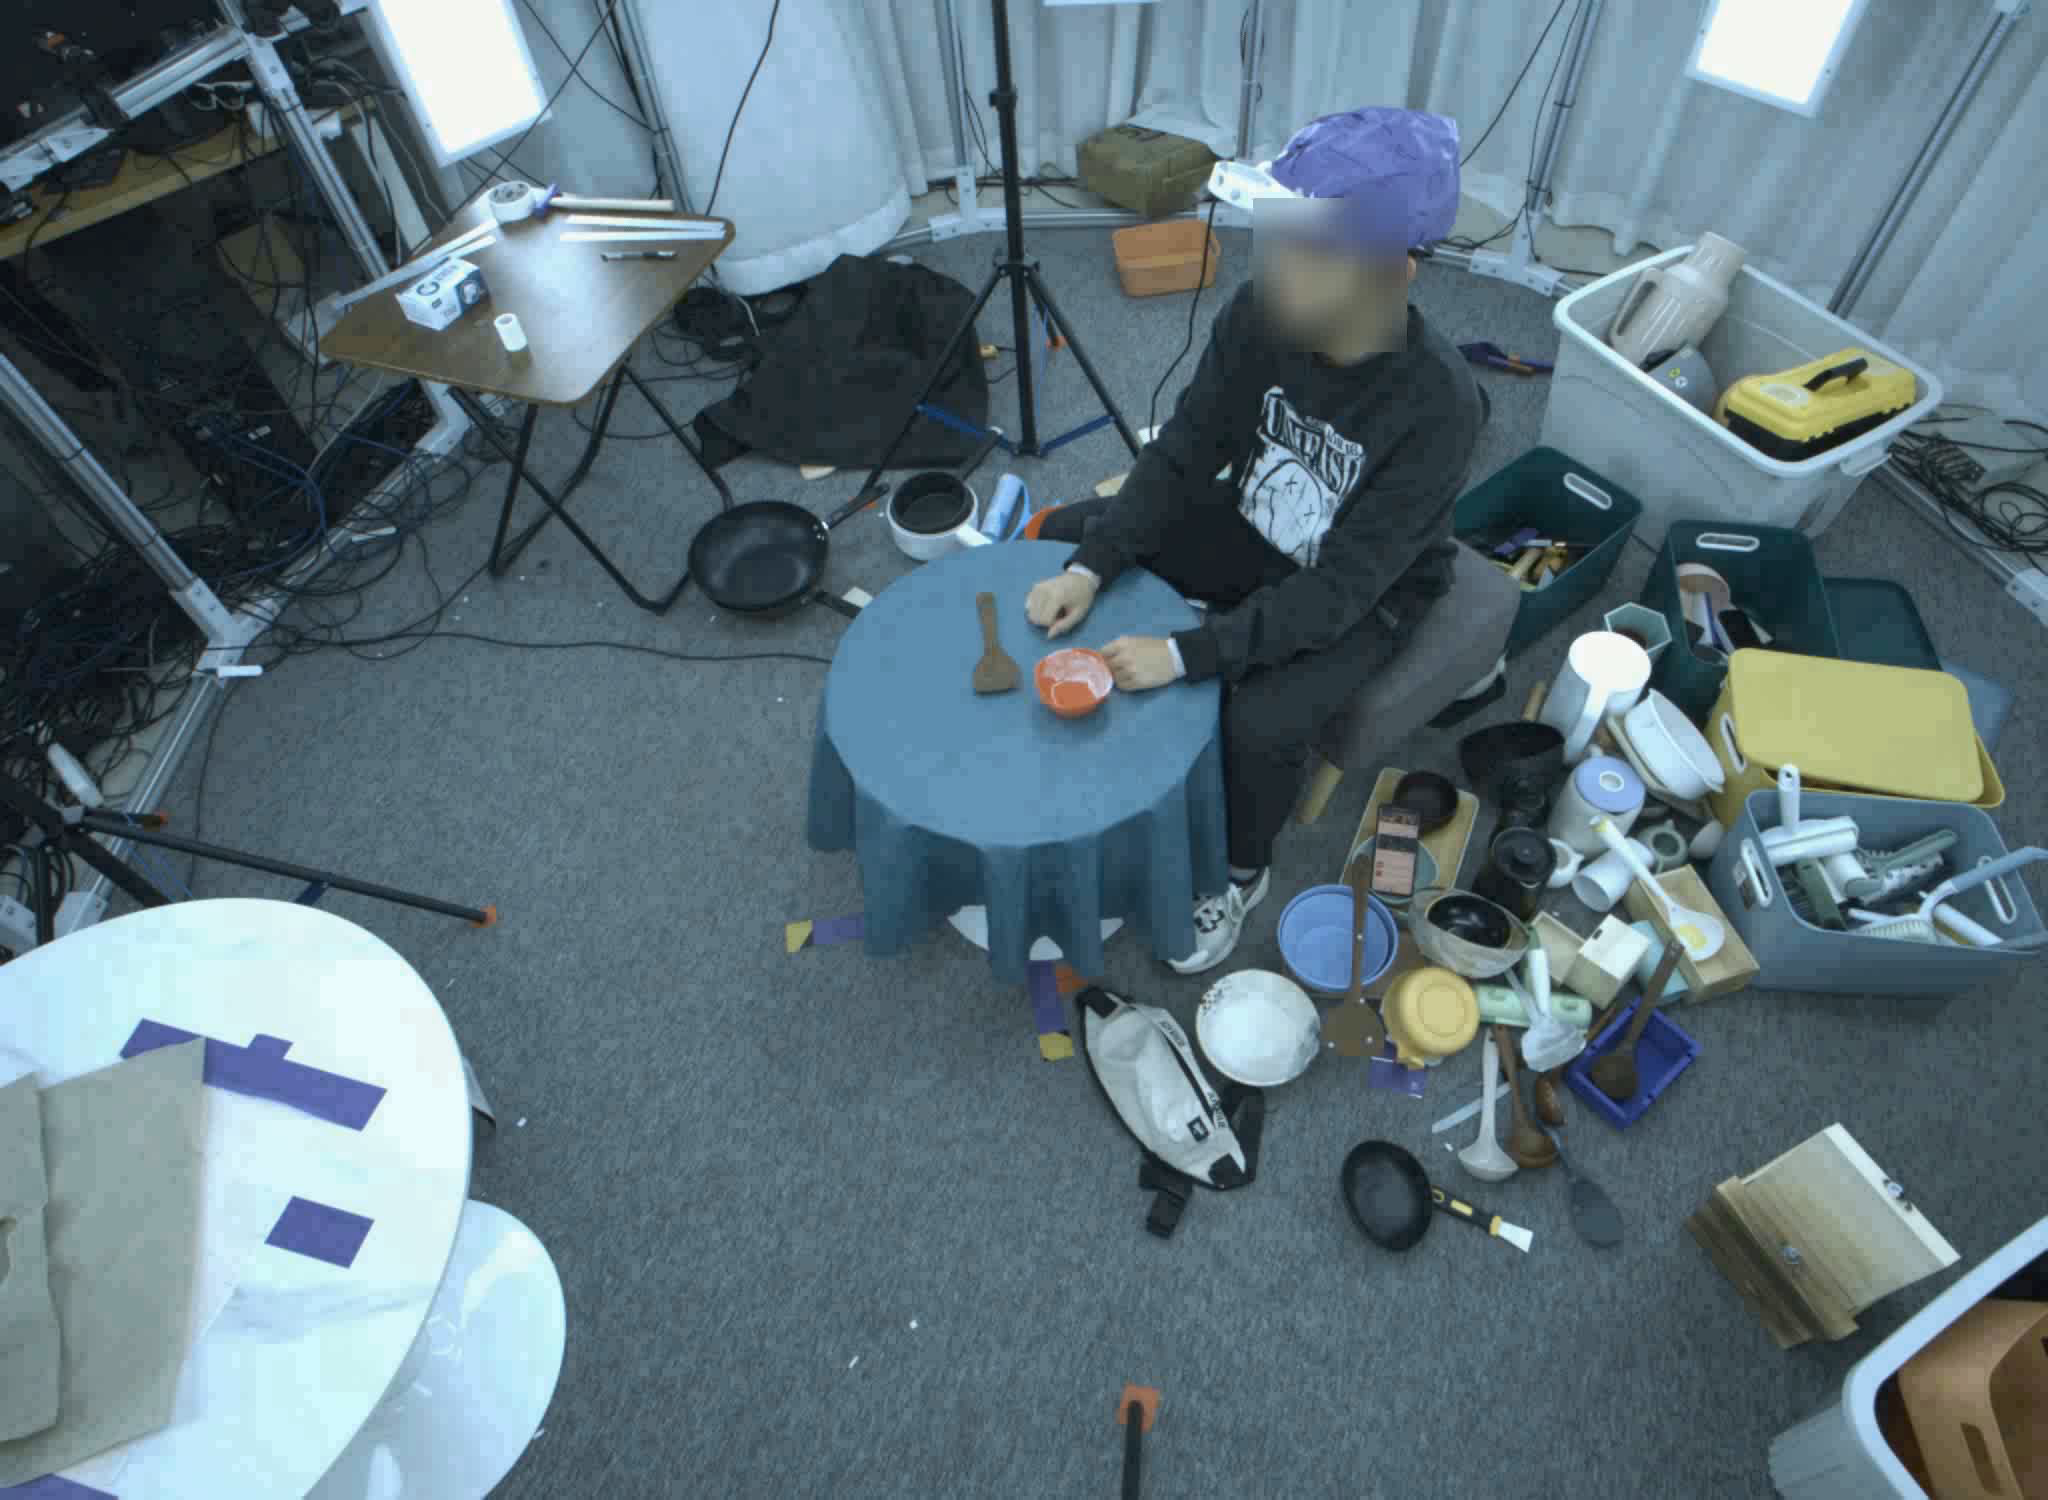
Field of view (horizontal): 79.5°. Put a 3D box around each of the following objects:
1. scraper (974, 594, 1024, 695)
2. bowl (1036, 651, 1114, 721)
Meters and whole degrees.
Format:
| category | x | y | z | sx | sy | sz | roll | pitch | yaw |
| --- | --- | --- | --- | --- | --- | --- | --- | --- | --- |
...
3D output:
| category | x | y | z | sx | sy | sz | roll | pitch | yaw |
| --- | --- | --- | --- | --- | --- | --- | --- | --- | --- |
| scraper | -0.049 | -0.166 | 1.911 | 0.076 | 0.011 | 0.208 | -7 | 54 | -4 |
| bowl | 0.077 | -0.087 | 1.827 | 0.119 | 0.052 | 0.118 | -1 | 55 | 3 |
